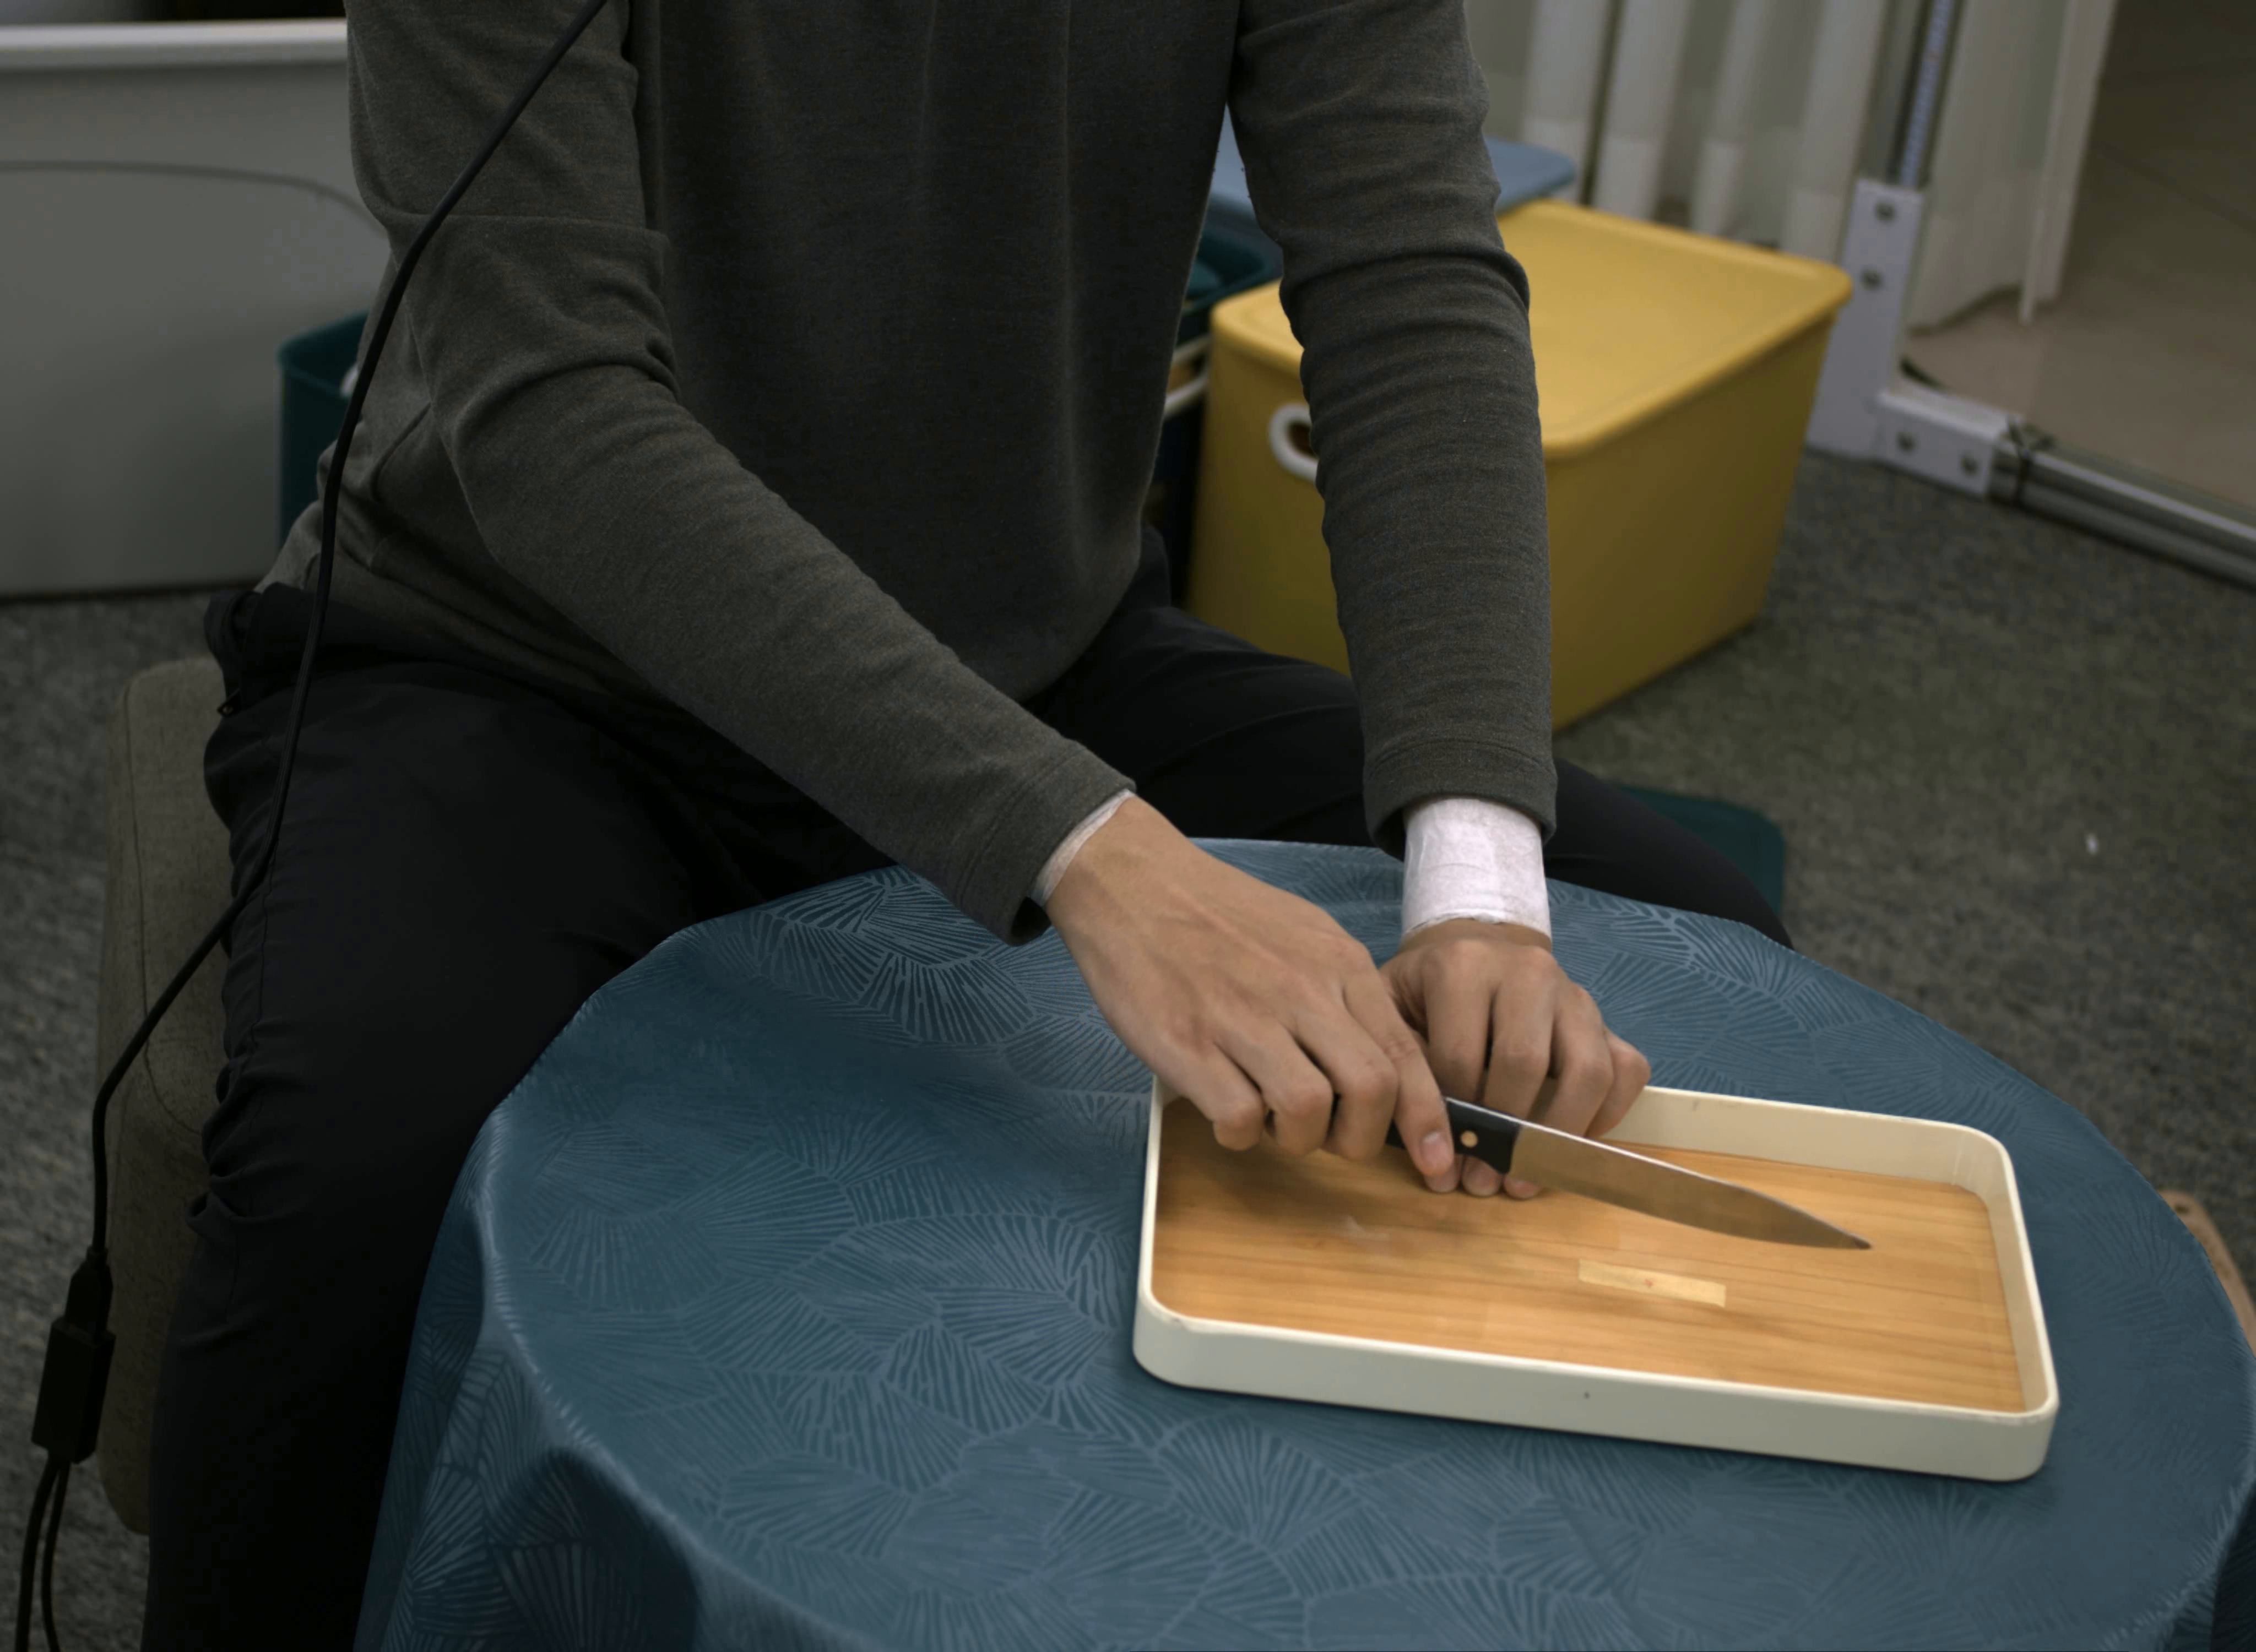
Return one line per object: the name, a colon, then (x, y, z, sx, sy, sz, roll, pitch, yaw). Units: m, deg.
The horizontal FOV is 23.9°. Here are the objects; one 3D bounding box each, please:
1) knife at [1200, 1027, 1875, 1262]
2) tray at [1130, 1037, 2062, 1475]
knife: (0.135, 0.106, 1.770, 0.239, 0.024, 0.016, 17, 24, 18)
tray: (0.153, 0.142, 1.776, 0.299, 0.027, 0.192, 7, 26, 0)
